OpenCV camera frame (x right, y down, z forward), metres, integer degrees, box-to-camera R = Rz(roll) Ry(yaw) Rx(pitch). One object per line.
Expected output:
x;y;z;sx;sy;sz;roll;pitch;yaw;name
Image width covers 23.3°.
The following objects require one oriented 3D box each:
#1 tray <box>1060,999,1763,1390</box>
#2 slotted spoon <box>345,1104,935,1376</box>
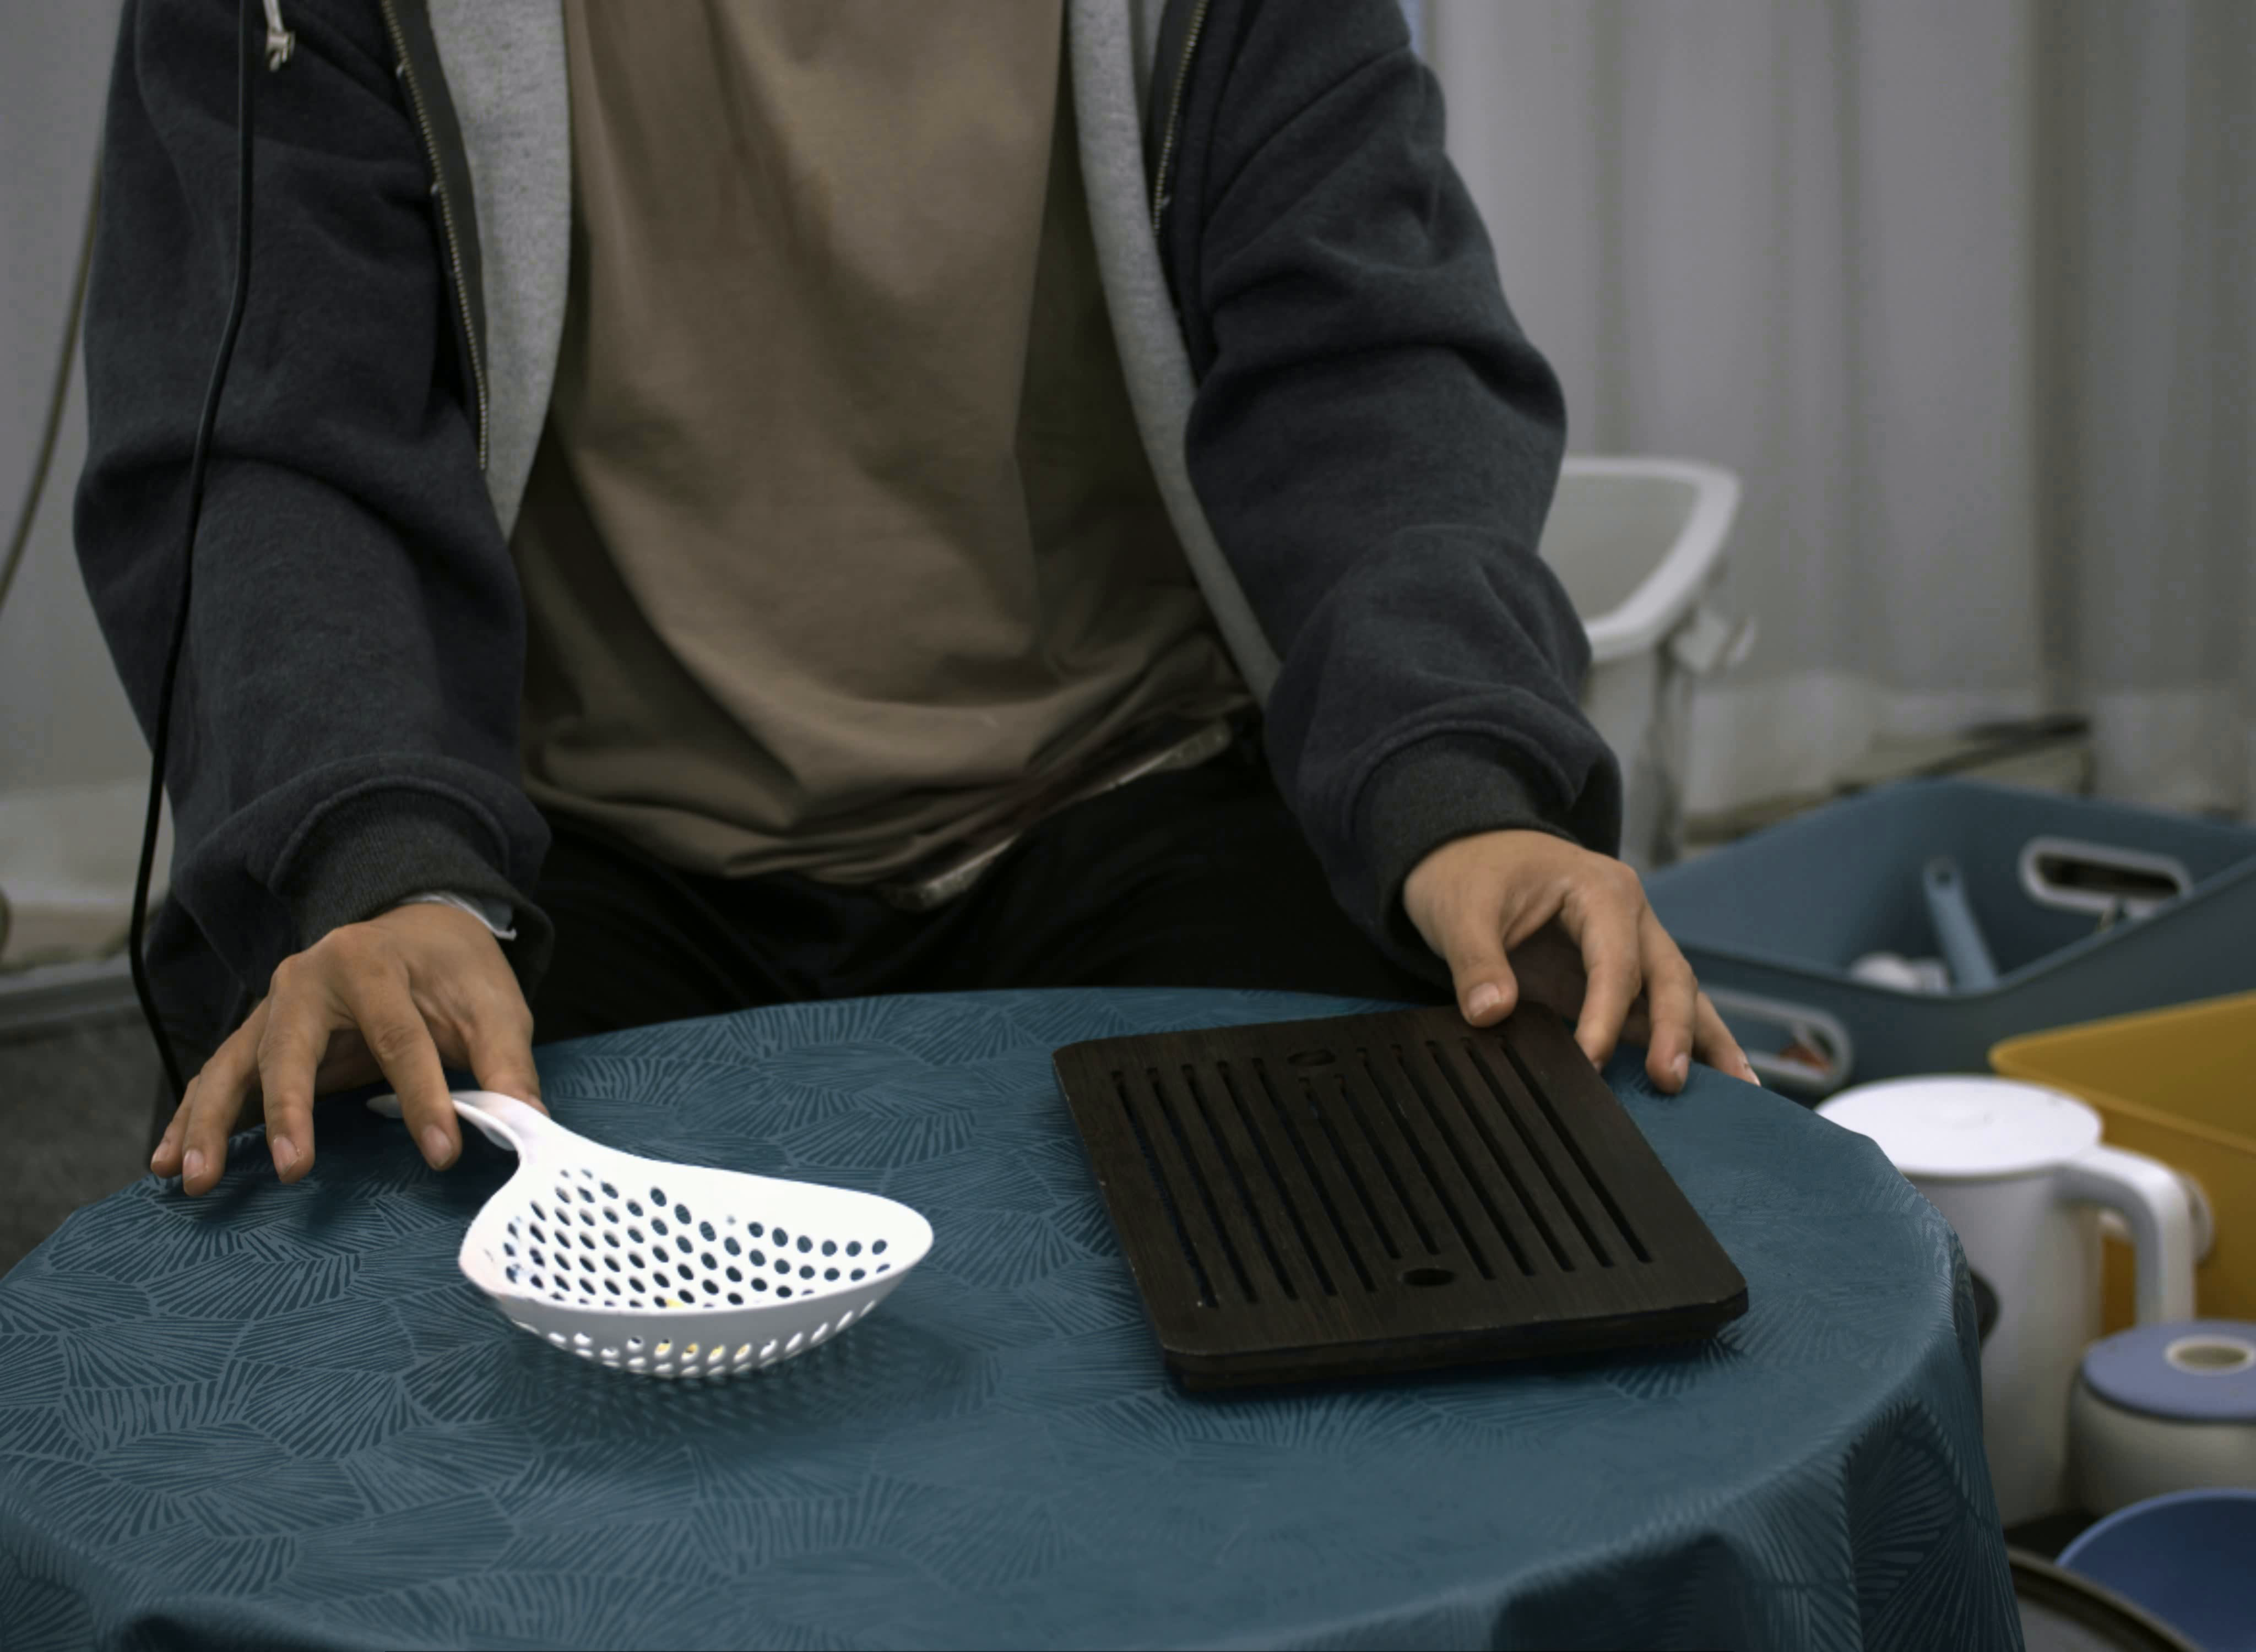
0.079;0.110;1.680;0.169;0.018;0.308;-5;15;-6;tray
-0.172;0.113;1.676;0.136;0.050;0.350;-10;16;-25;slotted spoon
